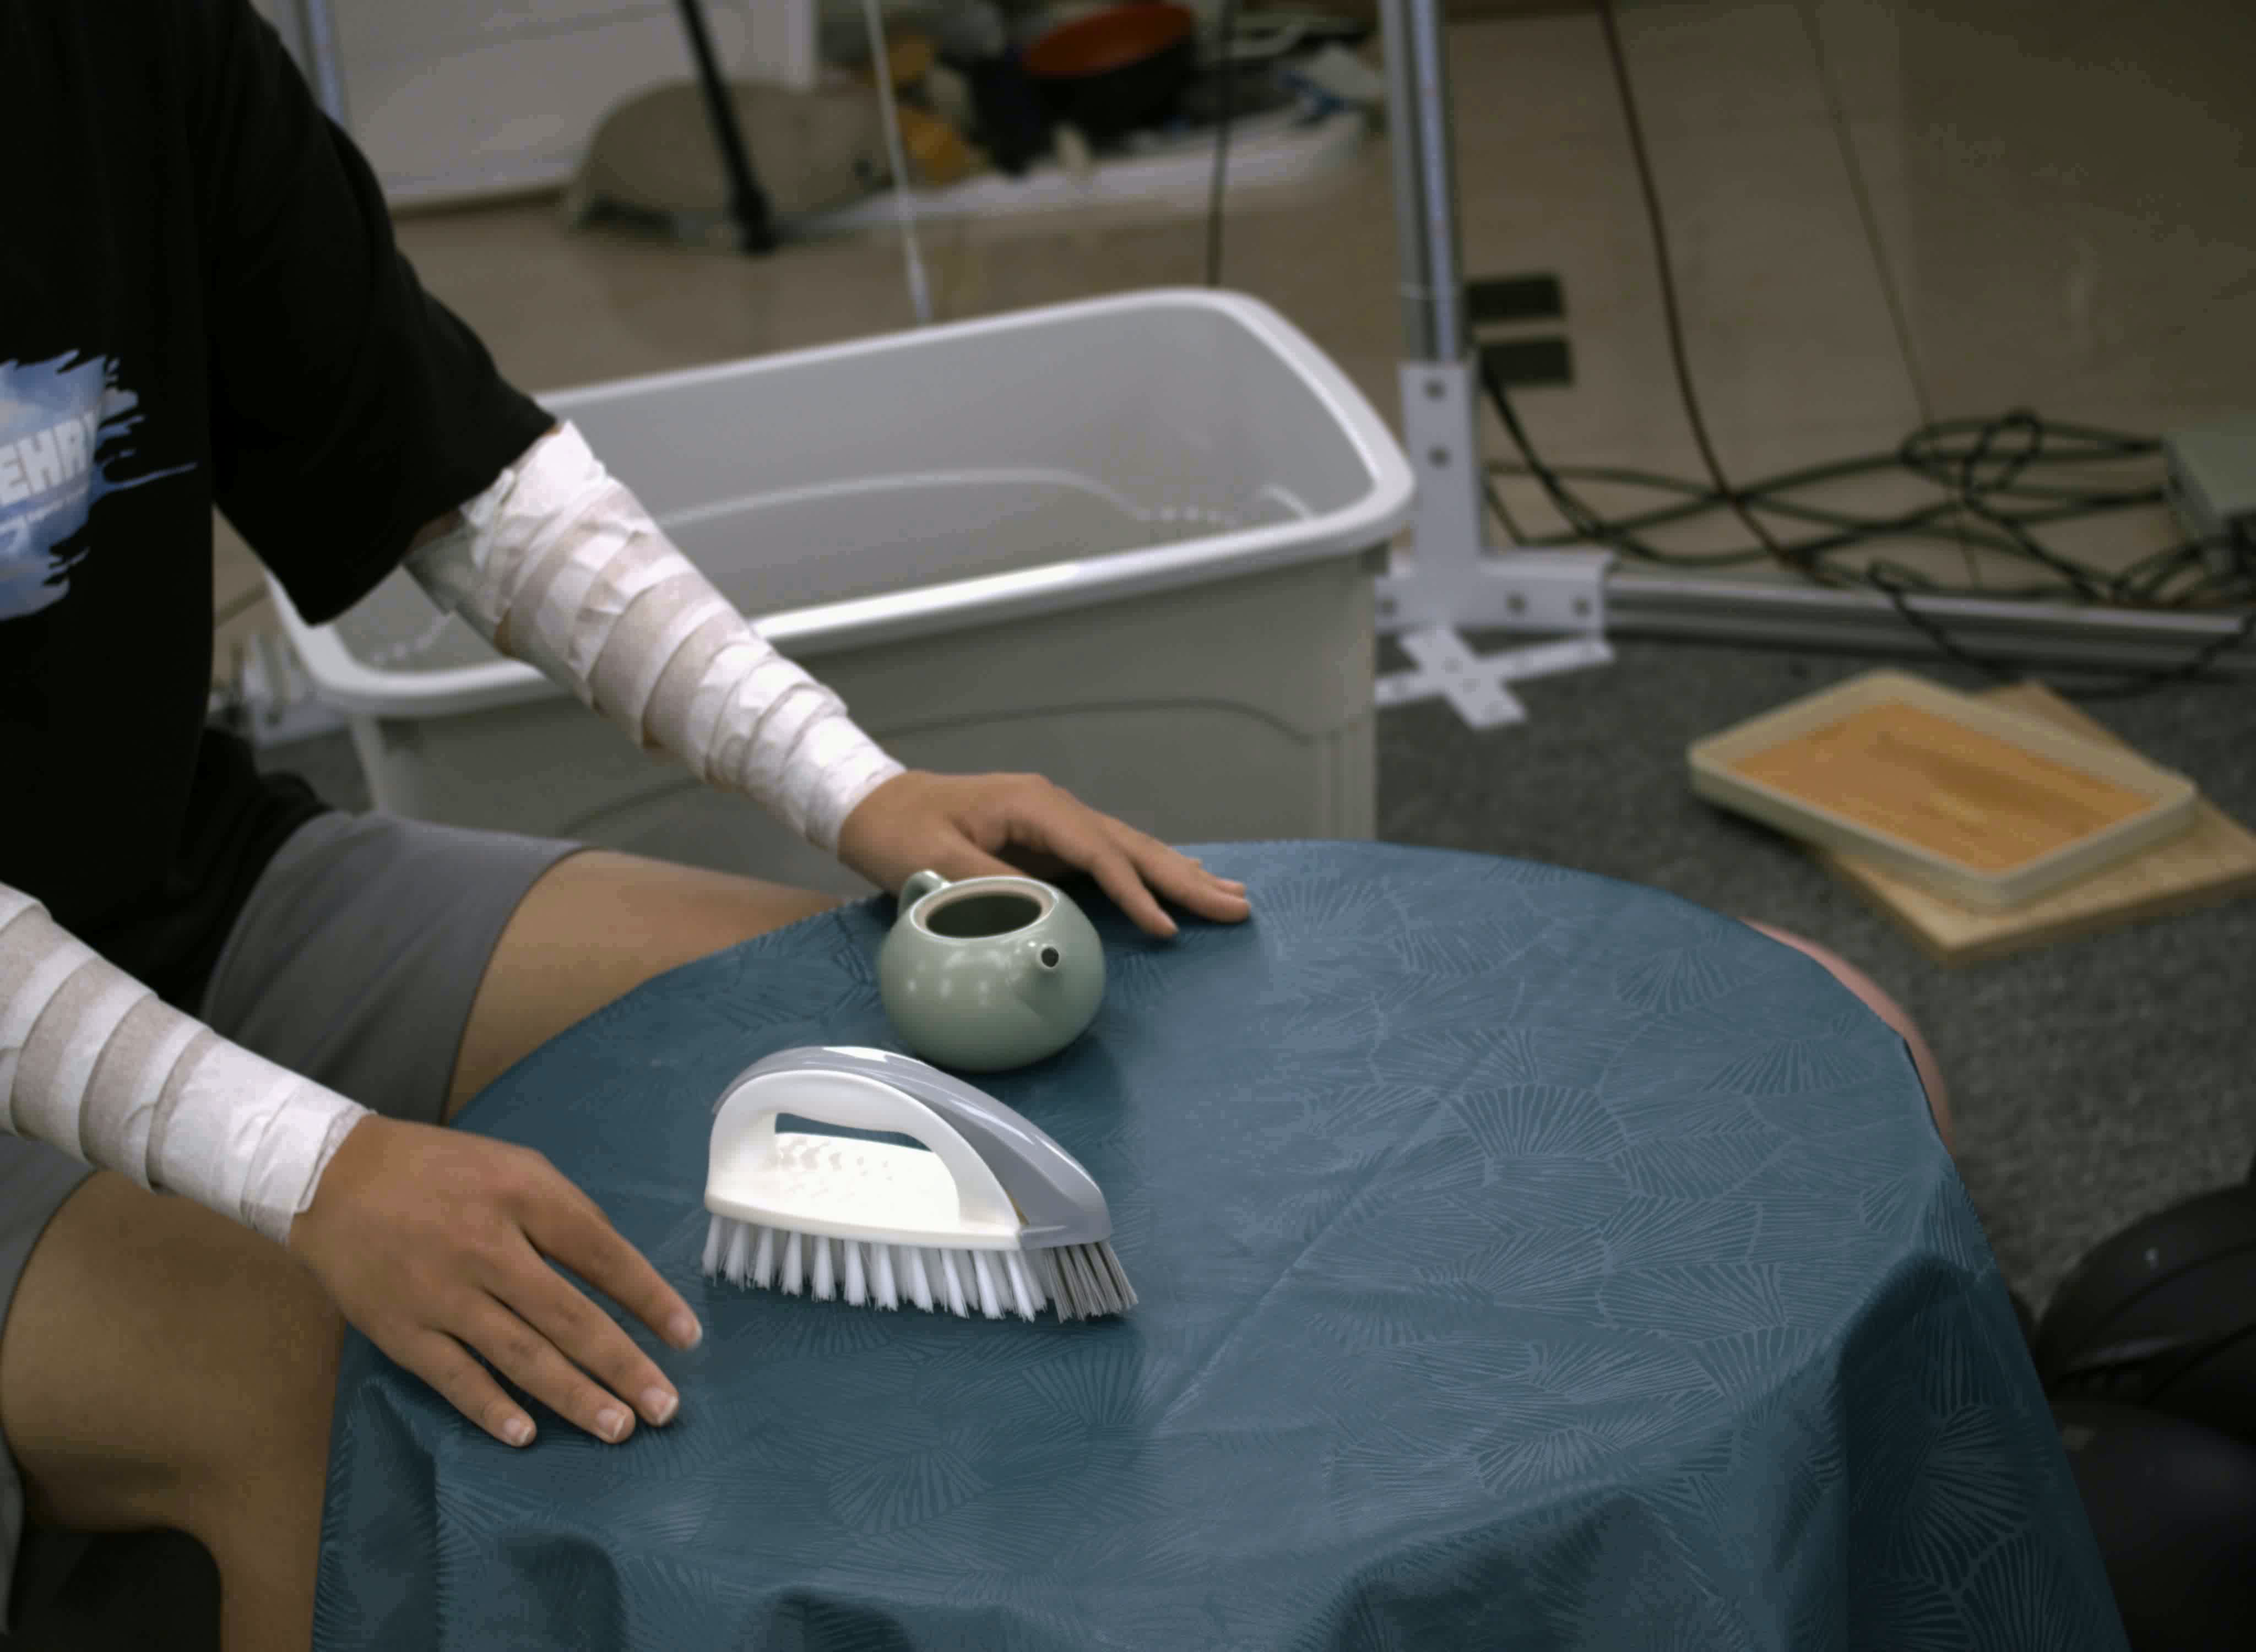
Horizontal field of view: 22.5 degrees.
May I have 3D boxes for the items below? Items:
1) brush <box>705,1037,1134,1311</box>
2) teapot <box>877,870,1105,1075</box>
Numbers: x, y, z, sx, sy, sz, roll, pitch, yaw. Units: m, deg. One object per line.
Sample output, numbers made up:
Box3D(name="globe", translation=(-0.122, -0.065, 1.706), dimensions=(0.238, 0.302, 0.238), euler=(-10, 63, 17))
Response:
Box3D(name="brush", translation=(-0.079, 0.125, 2.087), dimensions=(0.174, 0.096, 0.060), euler=(10, 34, 29))
Box3D(name="teapot", translation=(-0.059, 0.057, 2.268), dimensions=(0.091, 0.062, 0.127), euler=(-19, 27, -21))
